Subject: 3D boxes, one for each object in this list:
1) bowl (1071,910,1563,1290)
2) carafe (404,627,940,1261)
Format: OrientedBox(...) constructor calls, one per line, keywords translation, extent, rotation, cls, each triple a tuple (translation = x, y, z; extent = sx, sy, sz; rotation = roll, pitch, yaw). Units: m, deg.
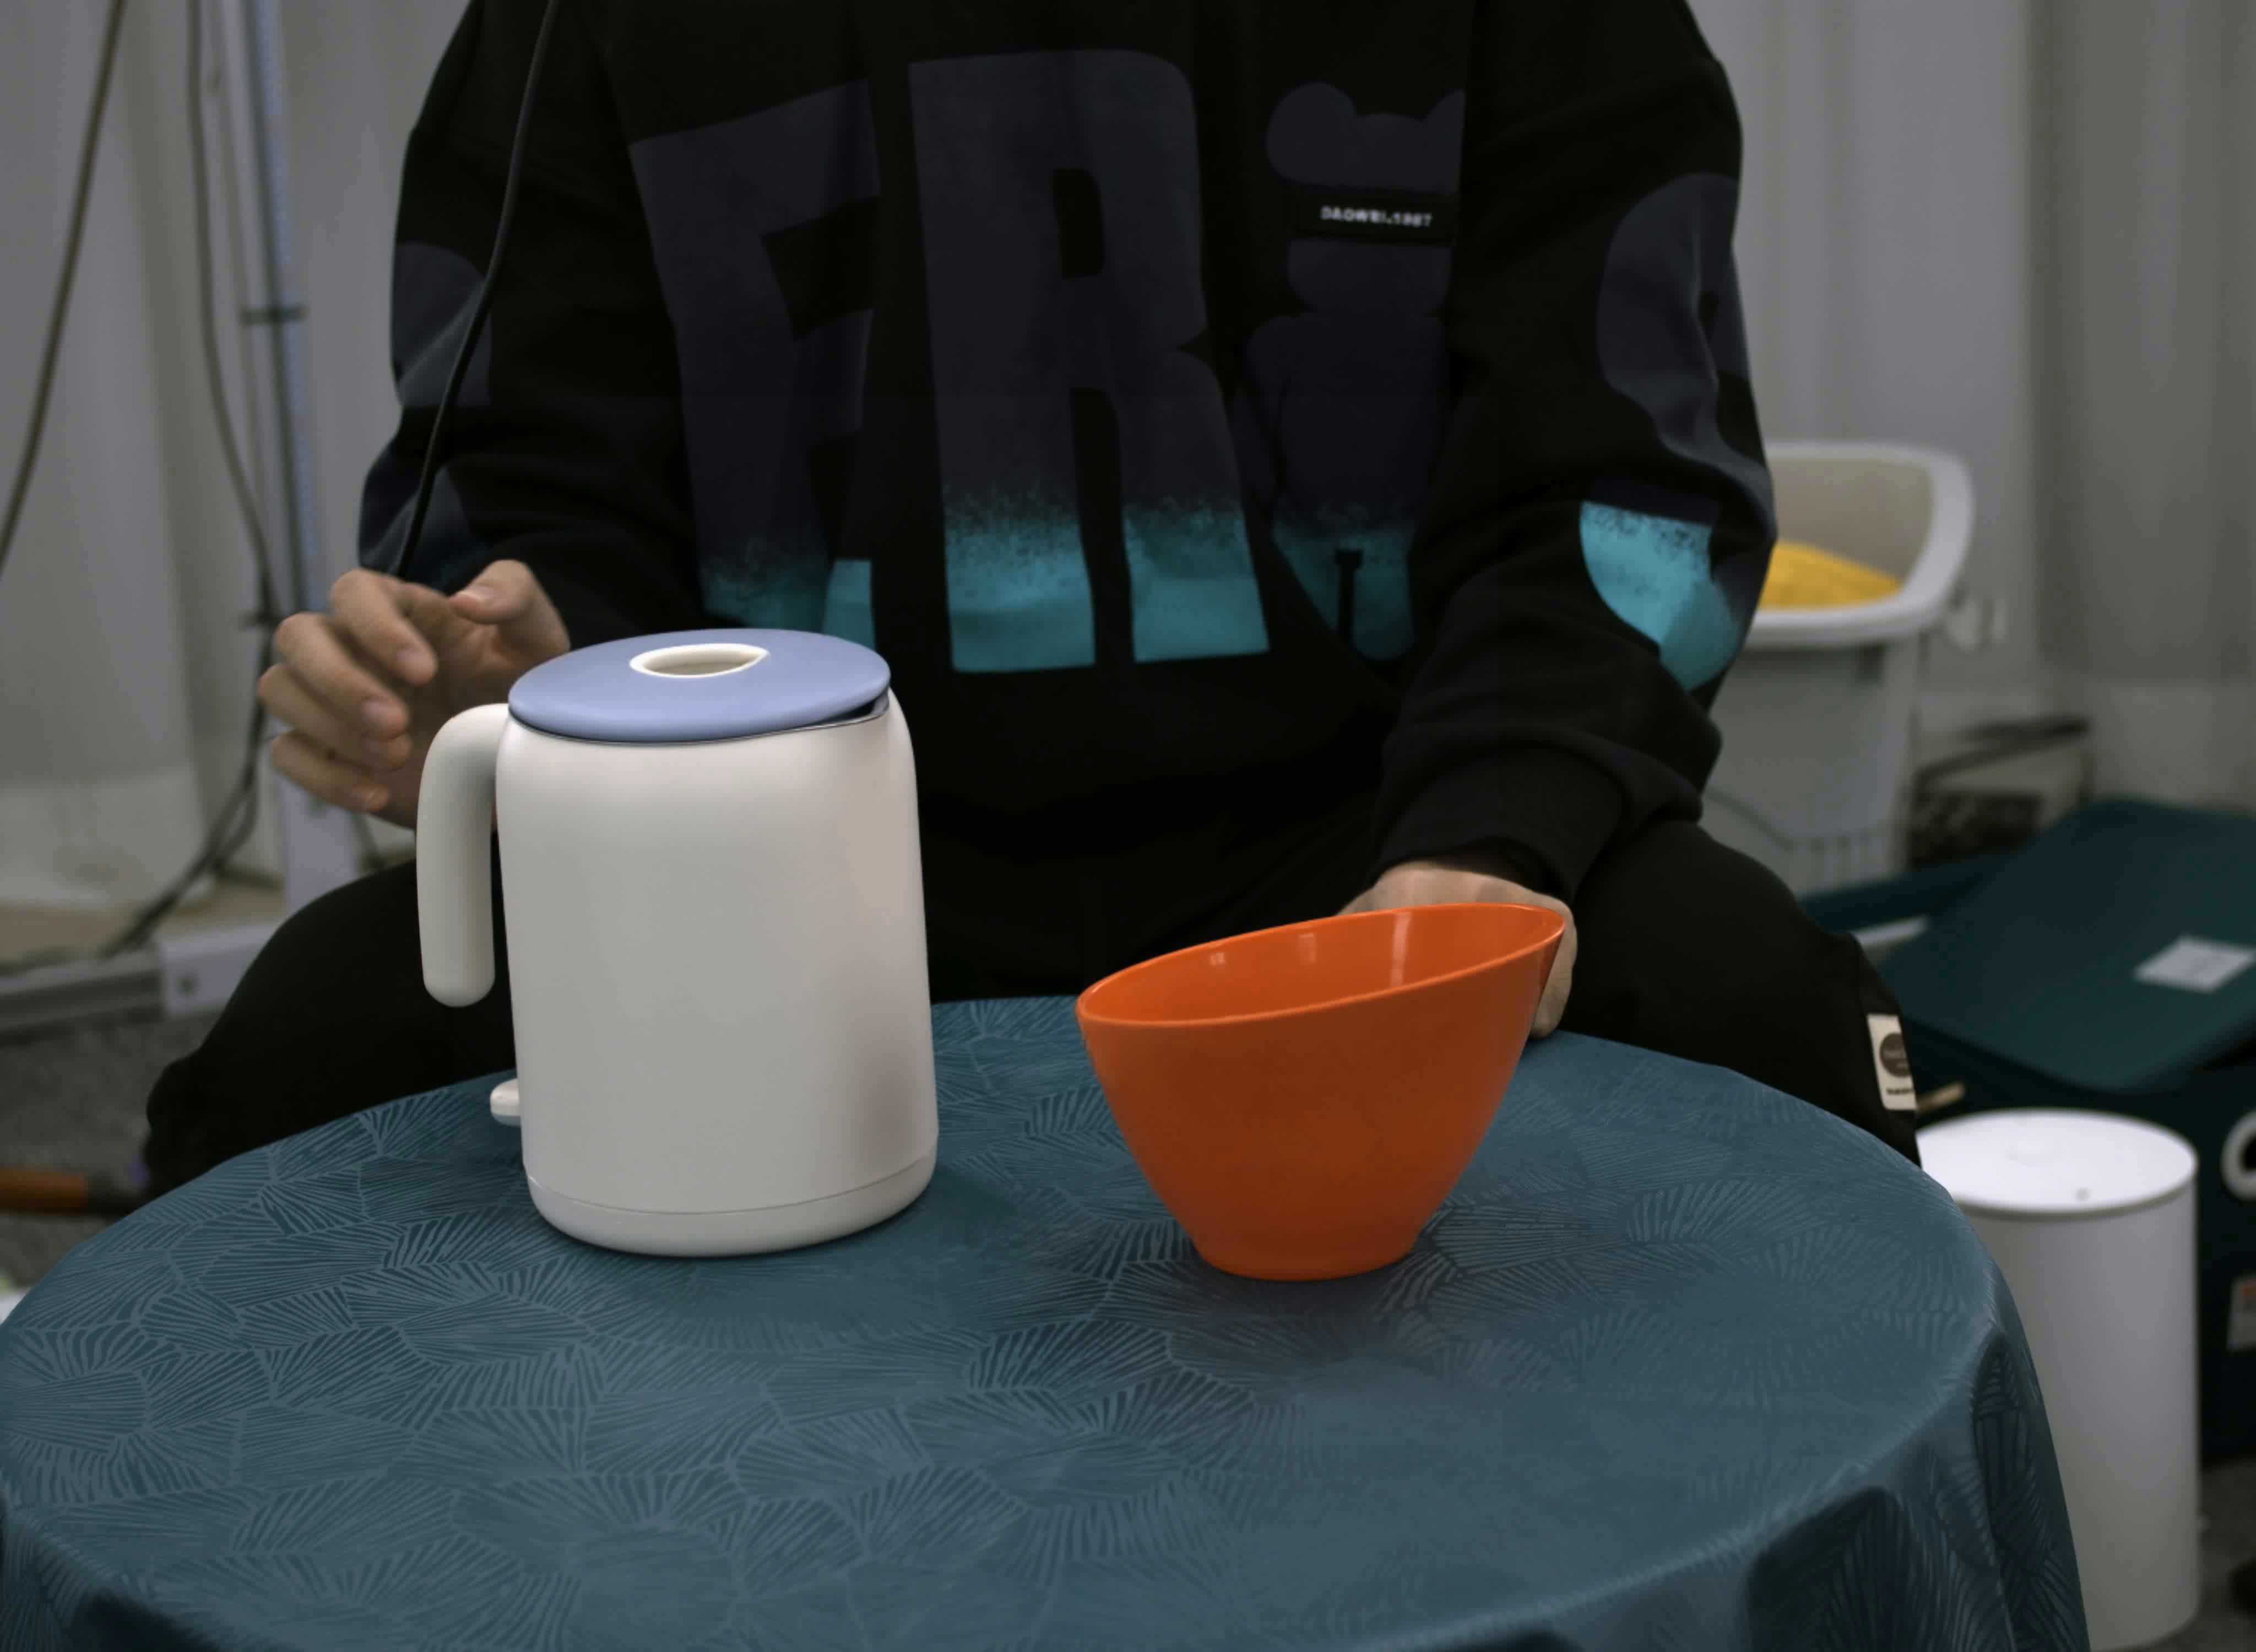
OrientedBox(translation=(0.057, 0.082, 1.634), extent=(0.147, 0.104, 0.149), rotation=(-3, 15, 0), cls="bowl")
OrientedBox(translation=(-0.149, 0.034, 1.719), extent=(0.191, 0.182, 0.132), rotation=(3, 14, 32), cls="carafe")
